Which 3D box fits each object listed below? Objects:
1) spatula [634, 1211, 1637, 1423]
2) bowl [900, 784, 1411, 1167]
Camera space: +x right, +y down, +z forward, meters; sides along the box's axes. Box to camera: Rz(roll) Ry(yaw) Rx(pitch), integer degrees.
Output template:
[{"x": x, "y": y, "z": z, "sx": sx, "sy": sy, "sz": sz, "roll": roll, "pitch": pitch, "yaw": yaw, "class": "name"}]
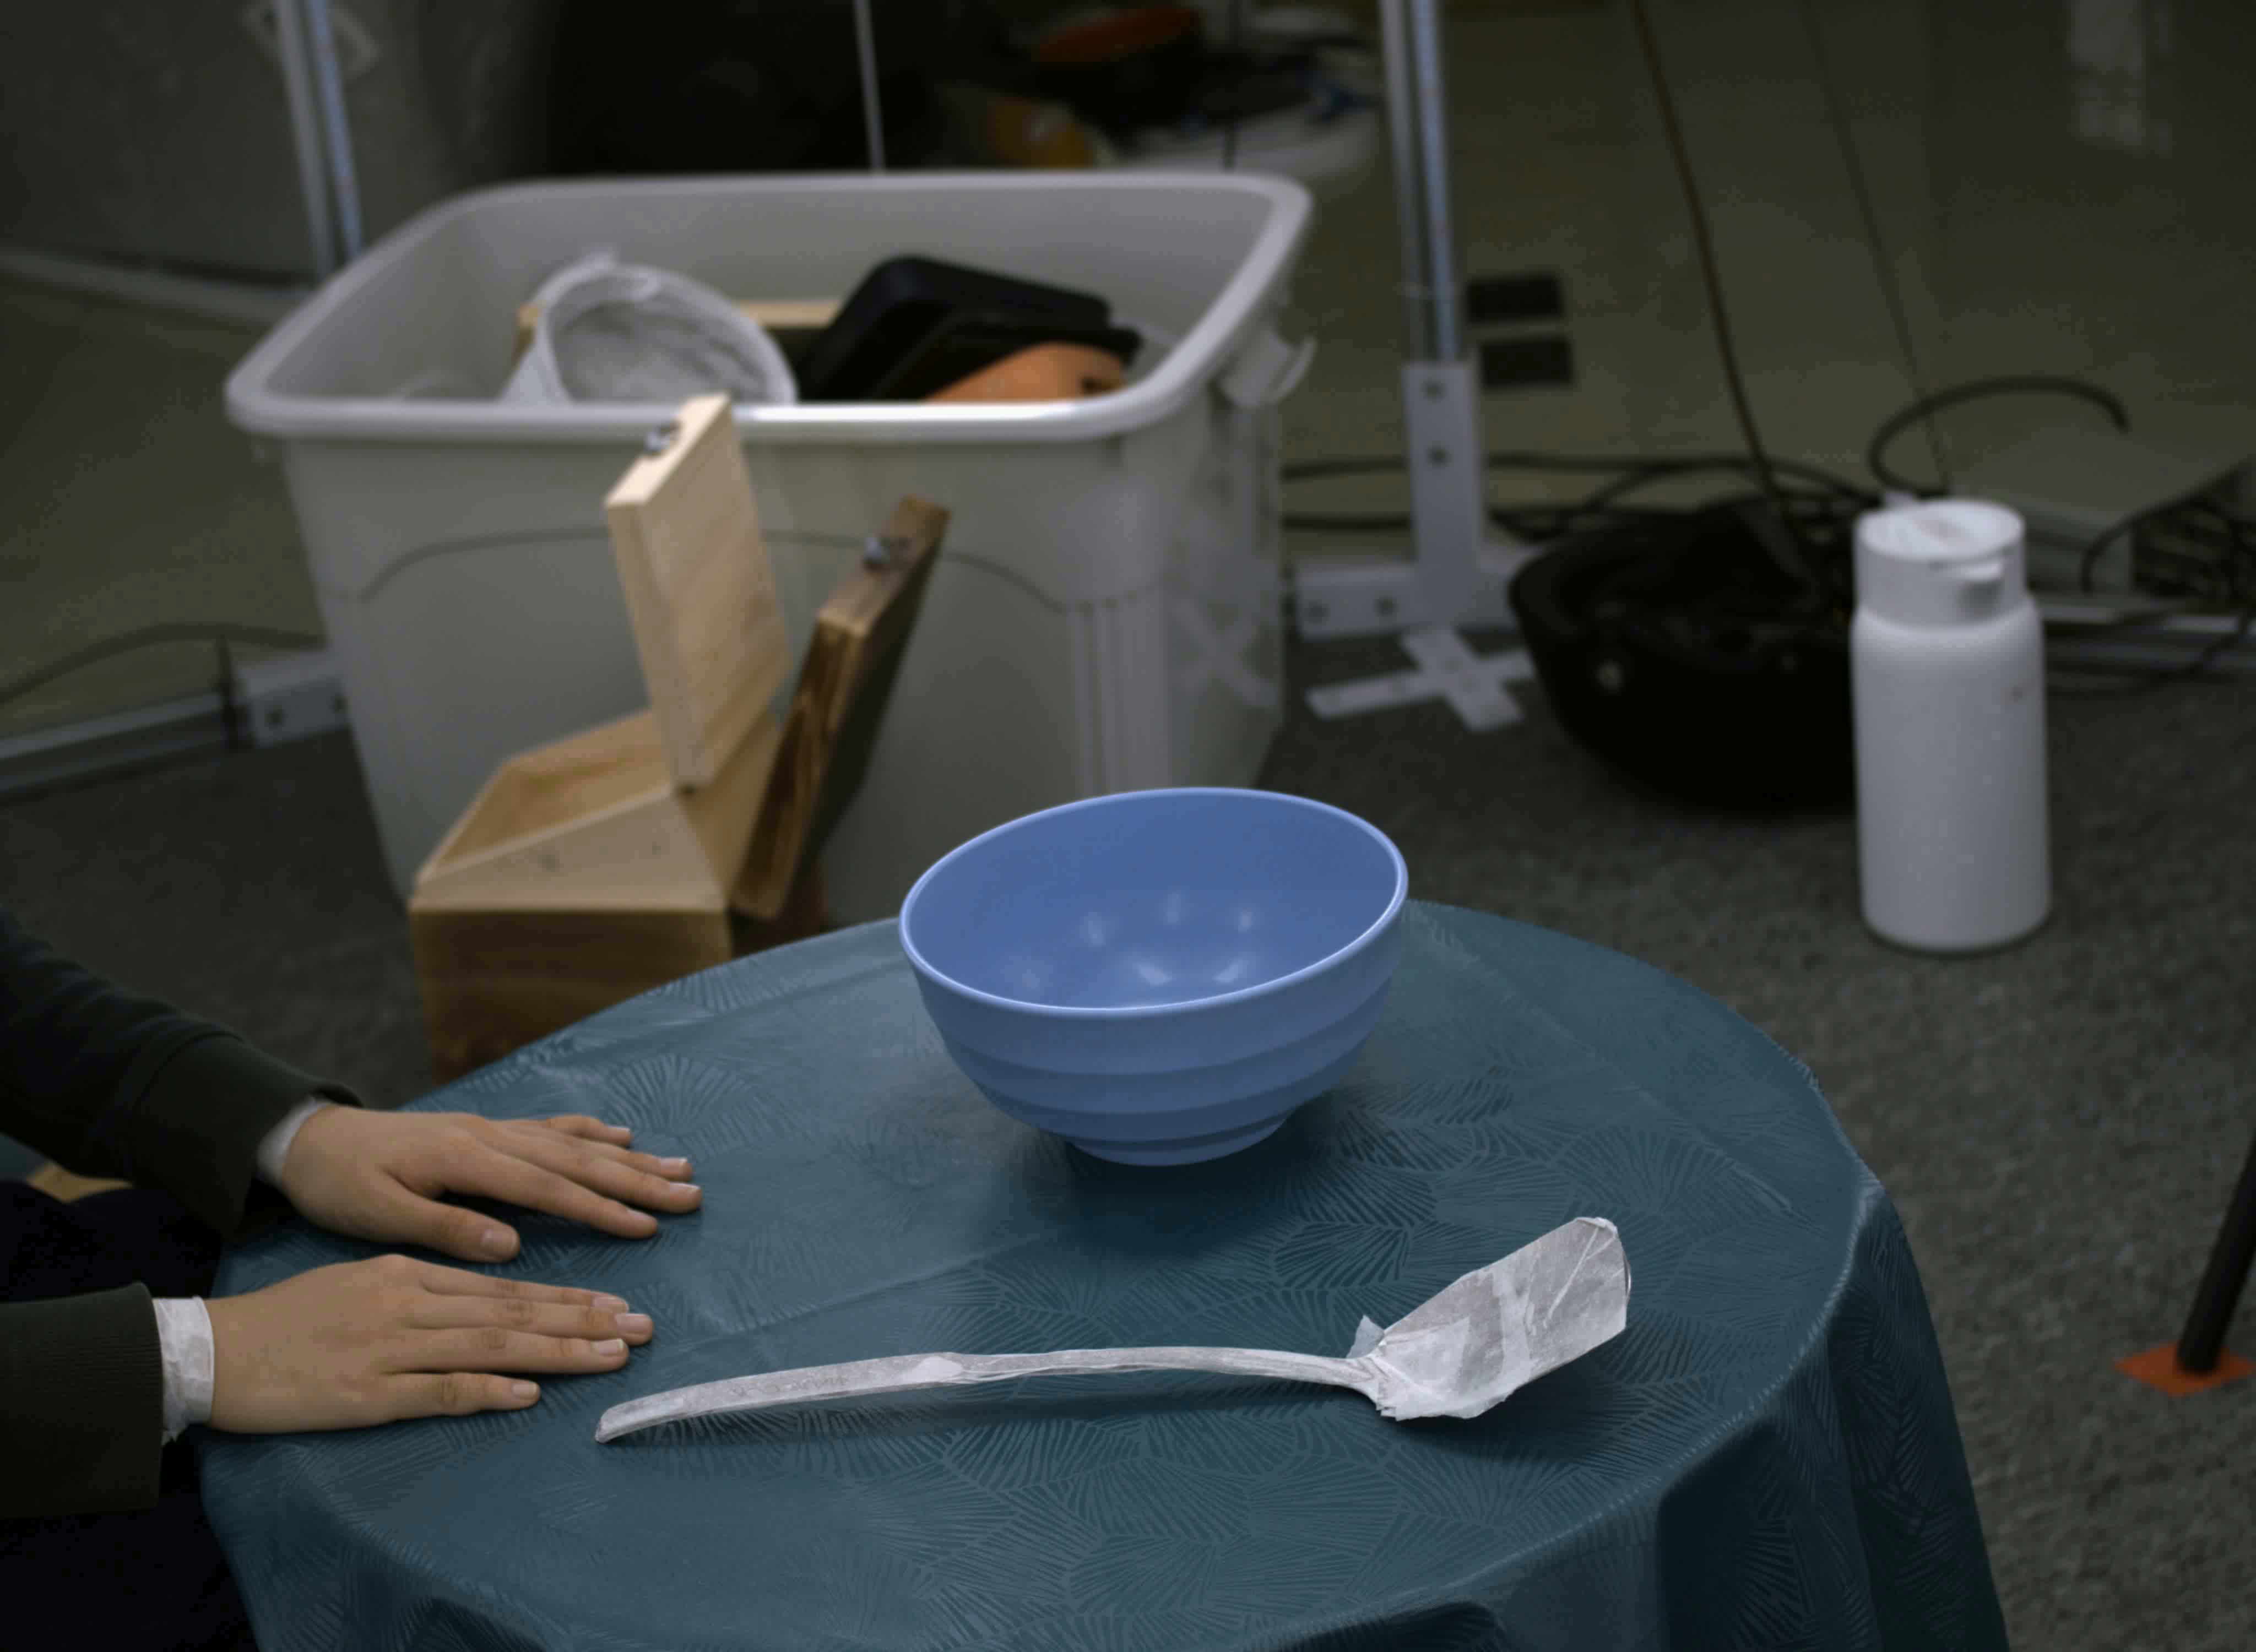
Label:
[{"x": -0.001, "y": 0.184, "z": 2.010, "sx": 0.364, "sy": 0.045, "sz": 0.097, "roll": -3, "pitch": 27, "yaw": 6, "class": "spatula"}, {"x": 0.014, "y": 0.069, "z": 2.186, "sx": 0.196, "sy": 0.097, "sz": 0.193, "roll": -5, "pitch": 27, "yaw": 2, "class": "bowl"}]
